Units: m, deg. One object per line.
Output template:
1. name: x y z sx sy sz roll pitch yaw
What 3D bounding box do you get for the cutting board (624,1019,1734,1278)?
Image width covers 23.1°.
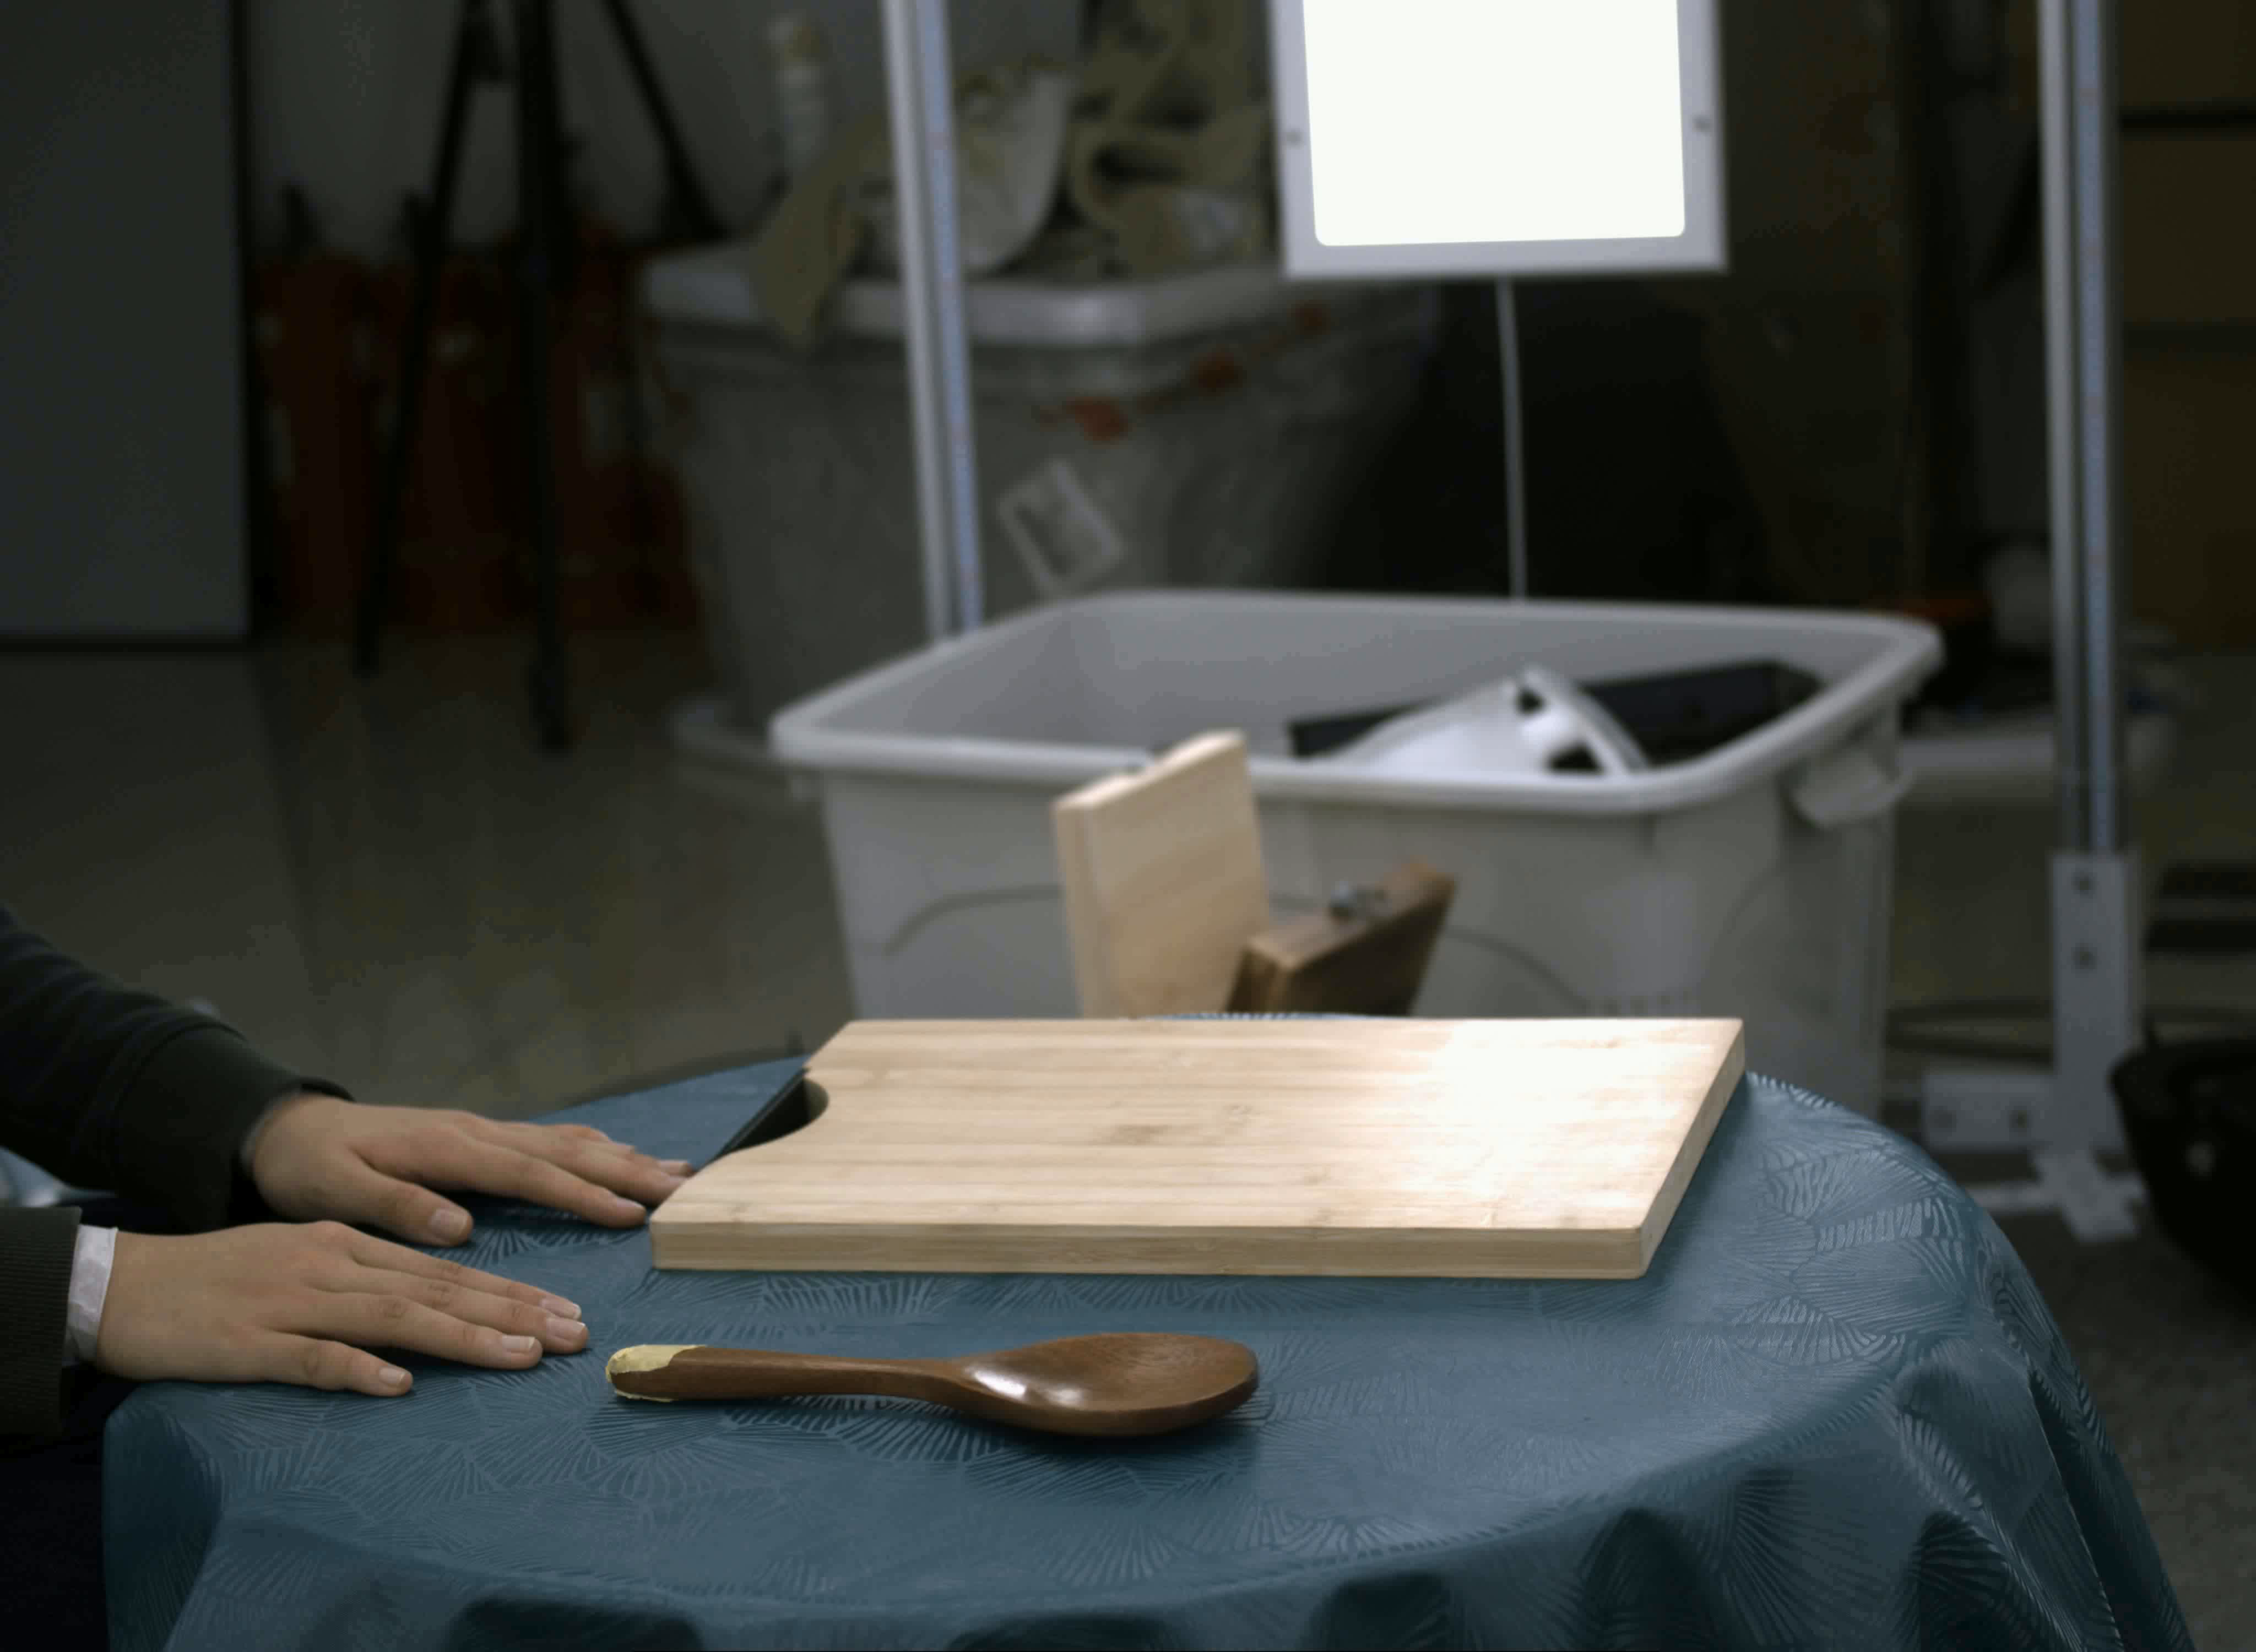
1. cutting board: 0.025 0.110 1.922 0.352 0.023 0.247 -1 14 16

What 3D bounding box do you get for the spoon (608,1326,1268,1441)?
1. spoon: -0.060 0.171 1.701 0.219 0.017 0.074 1 16 21
